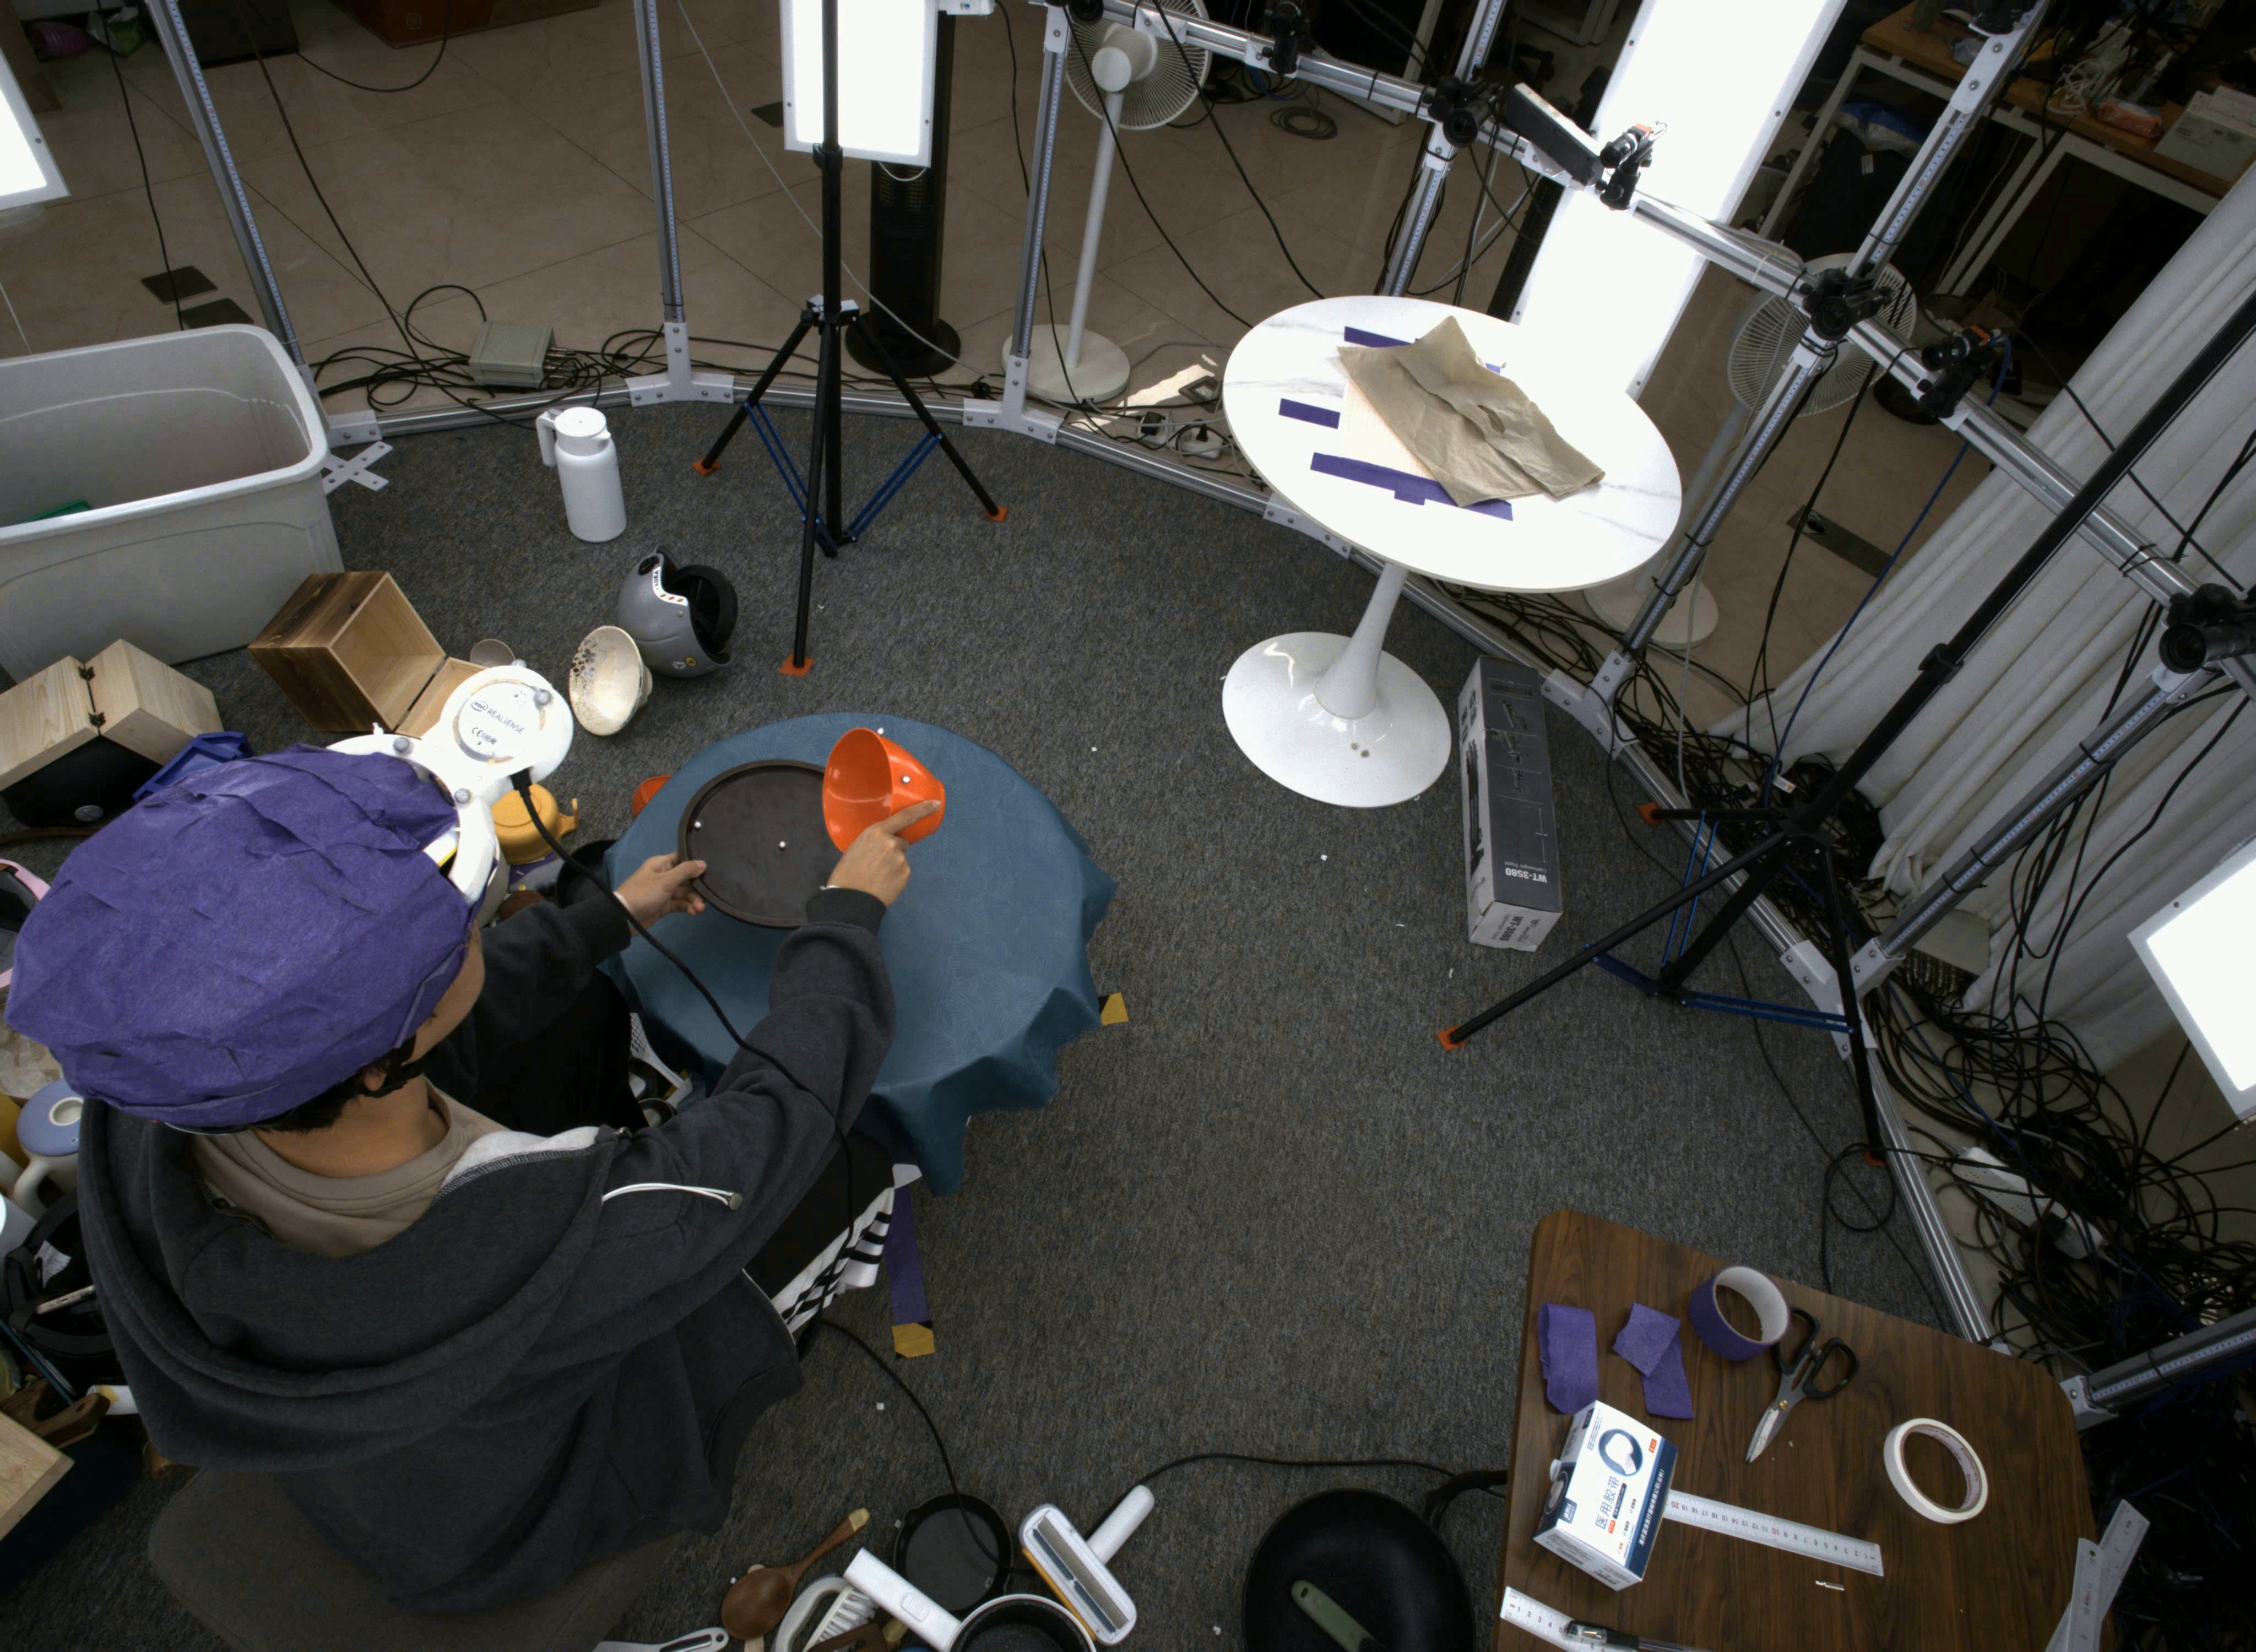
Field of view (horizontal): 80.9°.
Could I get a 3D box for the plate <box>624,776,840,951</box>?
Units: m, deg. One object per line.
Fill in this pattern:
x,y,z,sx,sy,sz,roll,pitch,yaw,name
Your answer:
-0.475,0.041,1.553,0.256,0.029,0.250,12,52,-13,plate

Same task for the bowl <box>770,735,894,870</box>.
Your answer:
-0.330,-0.023,1.469,0.107,0.149,0.144,6,47,-37,bowl
